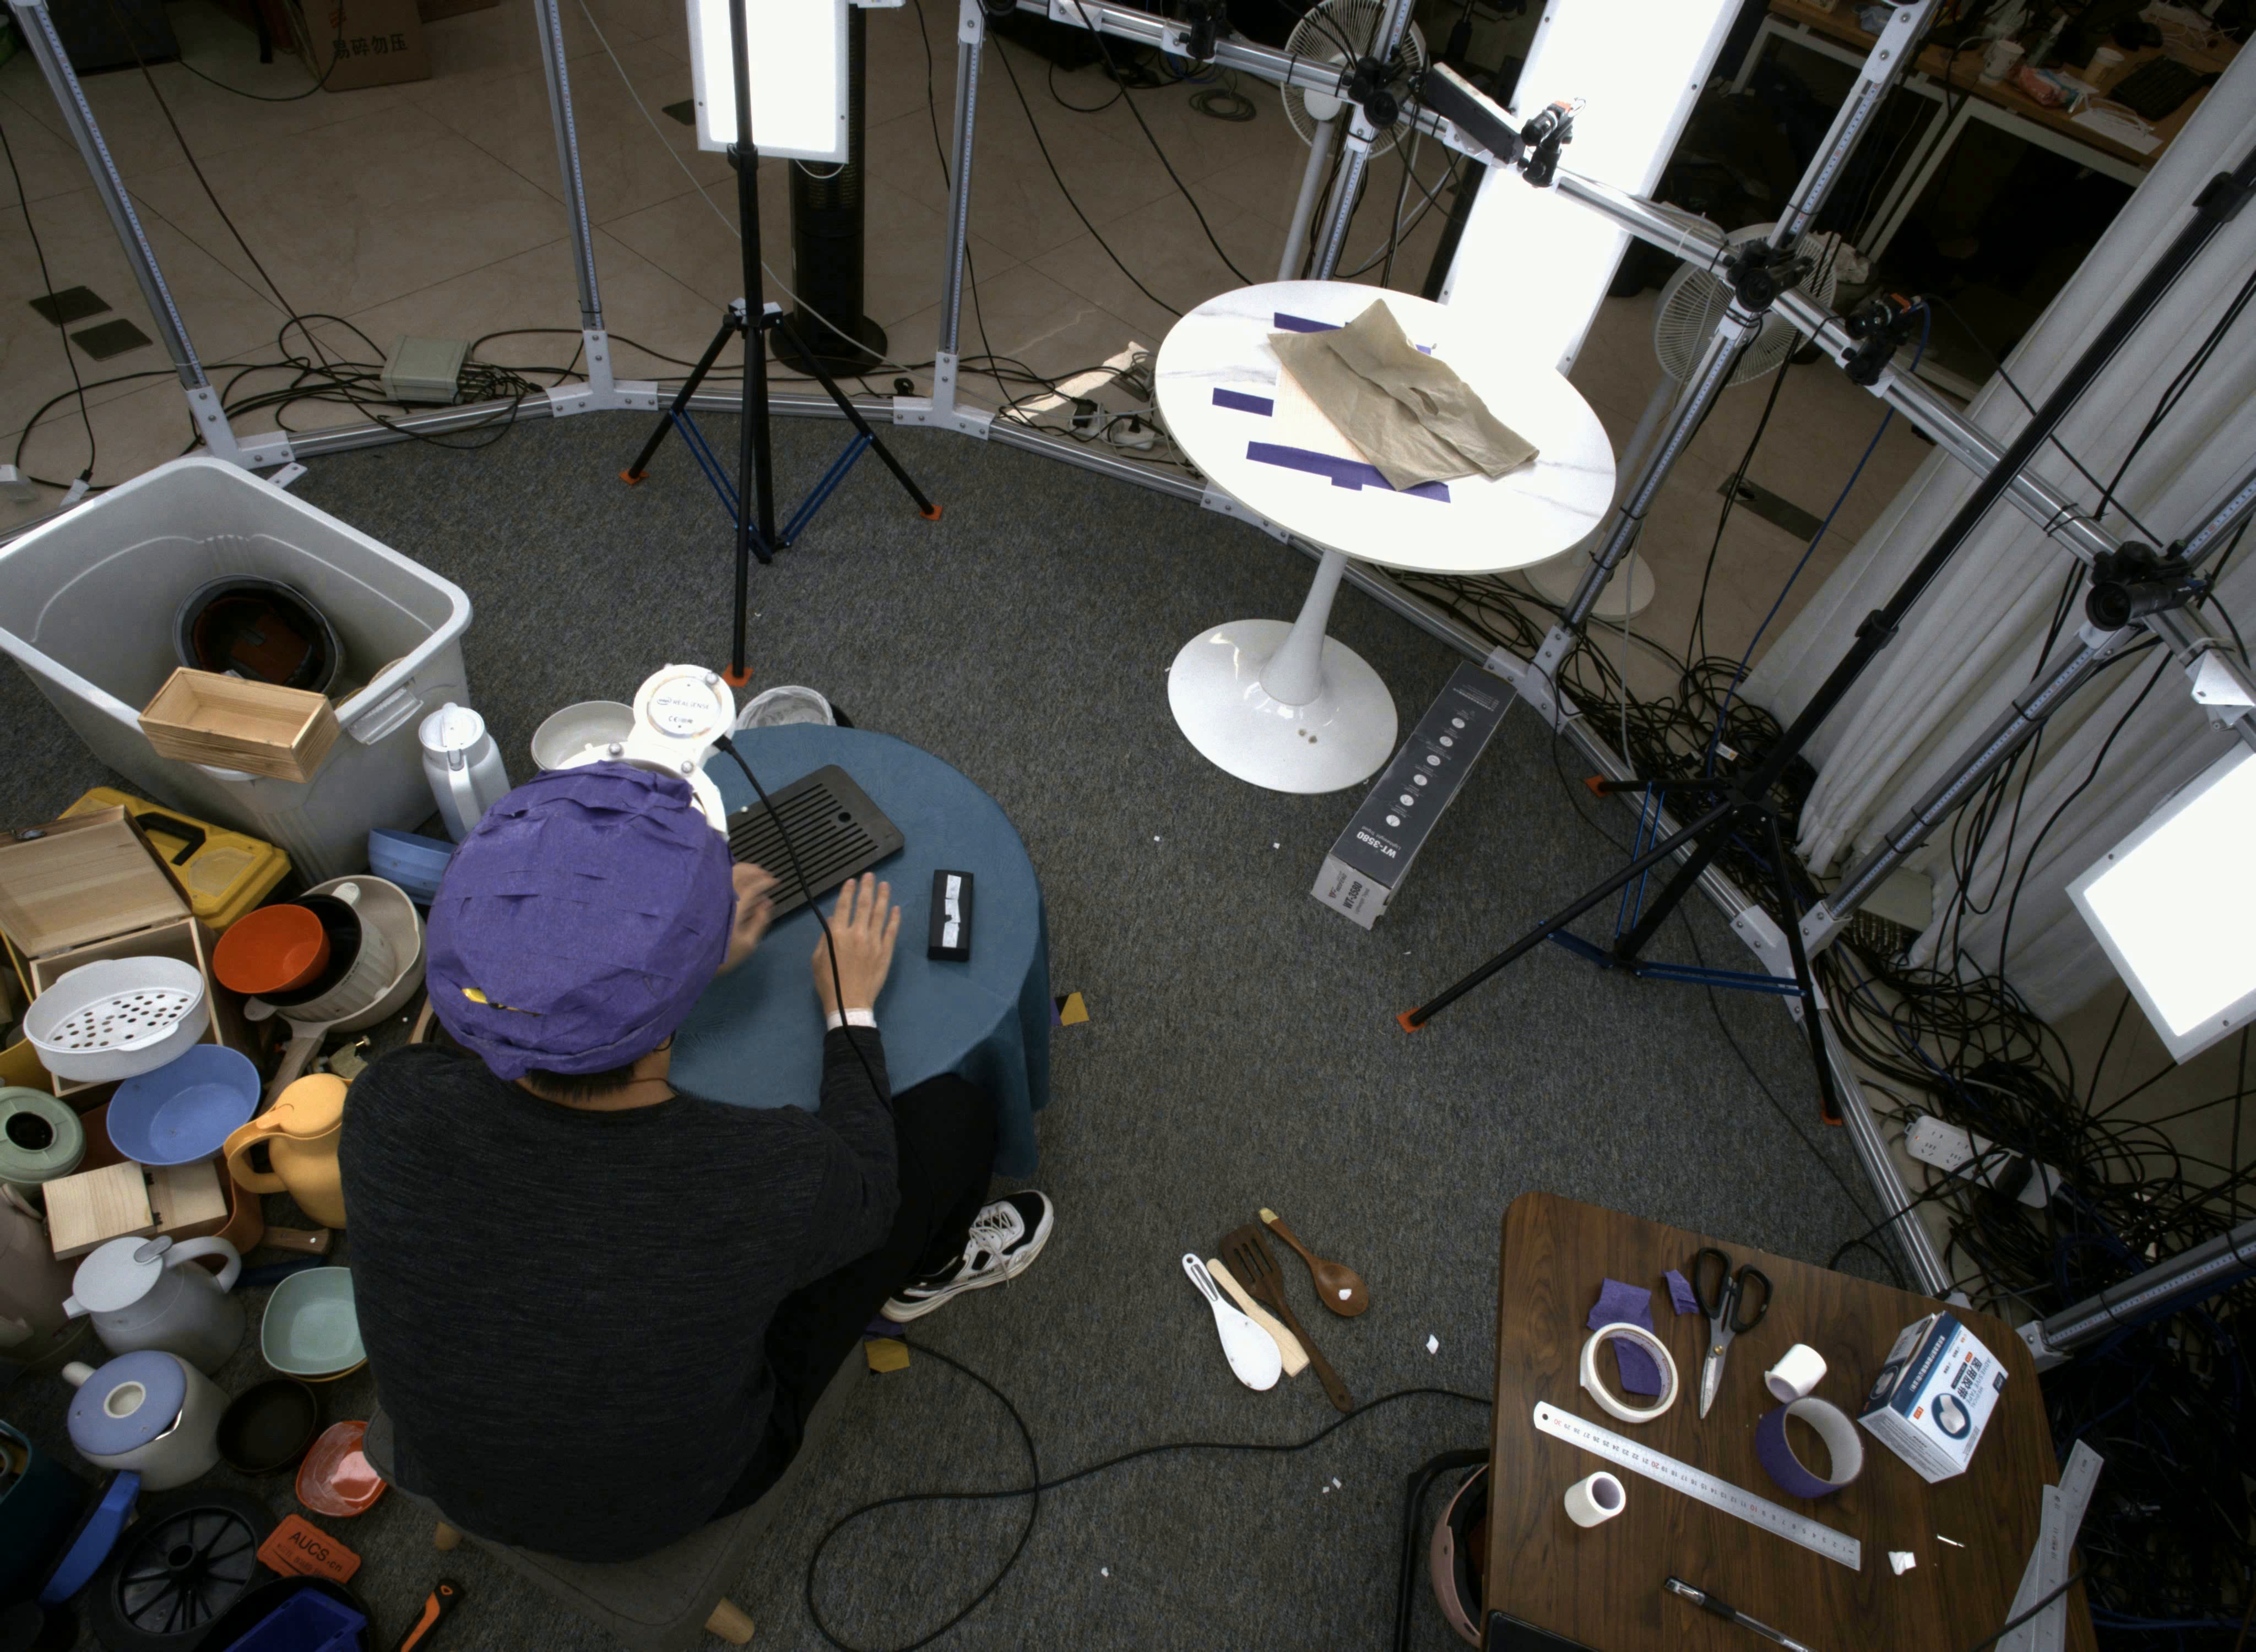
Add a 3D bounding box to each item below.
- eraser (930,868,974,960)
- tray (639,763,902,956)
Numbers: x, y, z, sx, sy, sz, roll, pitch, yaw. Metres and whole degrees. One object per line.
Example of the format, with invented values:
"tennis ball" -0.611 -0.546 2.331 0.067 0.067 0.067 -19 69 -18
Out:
"eraser" -0.225 0.111 1.671 0.053 0.031 0.123 3 54 -9
"tray" -0.458 0.037 1.671 0.307 0.019 0.166 -33 68 -32
